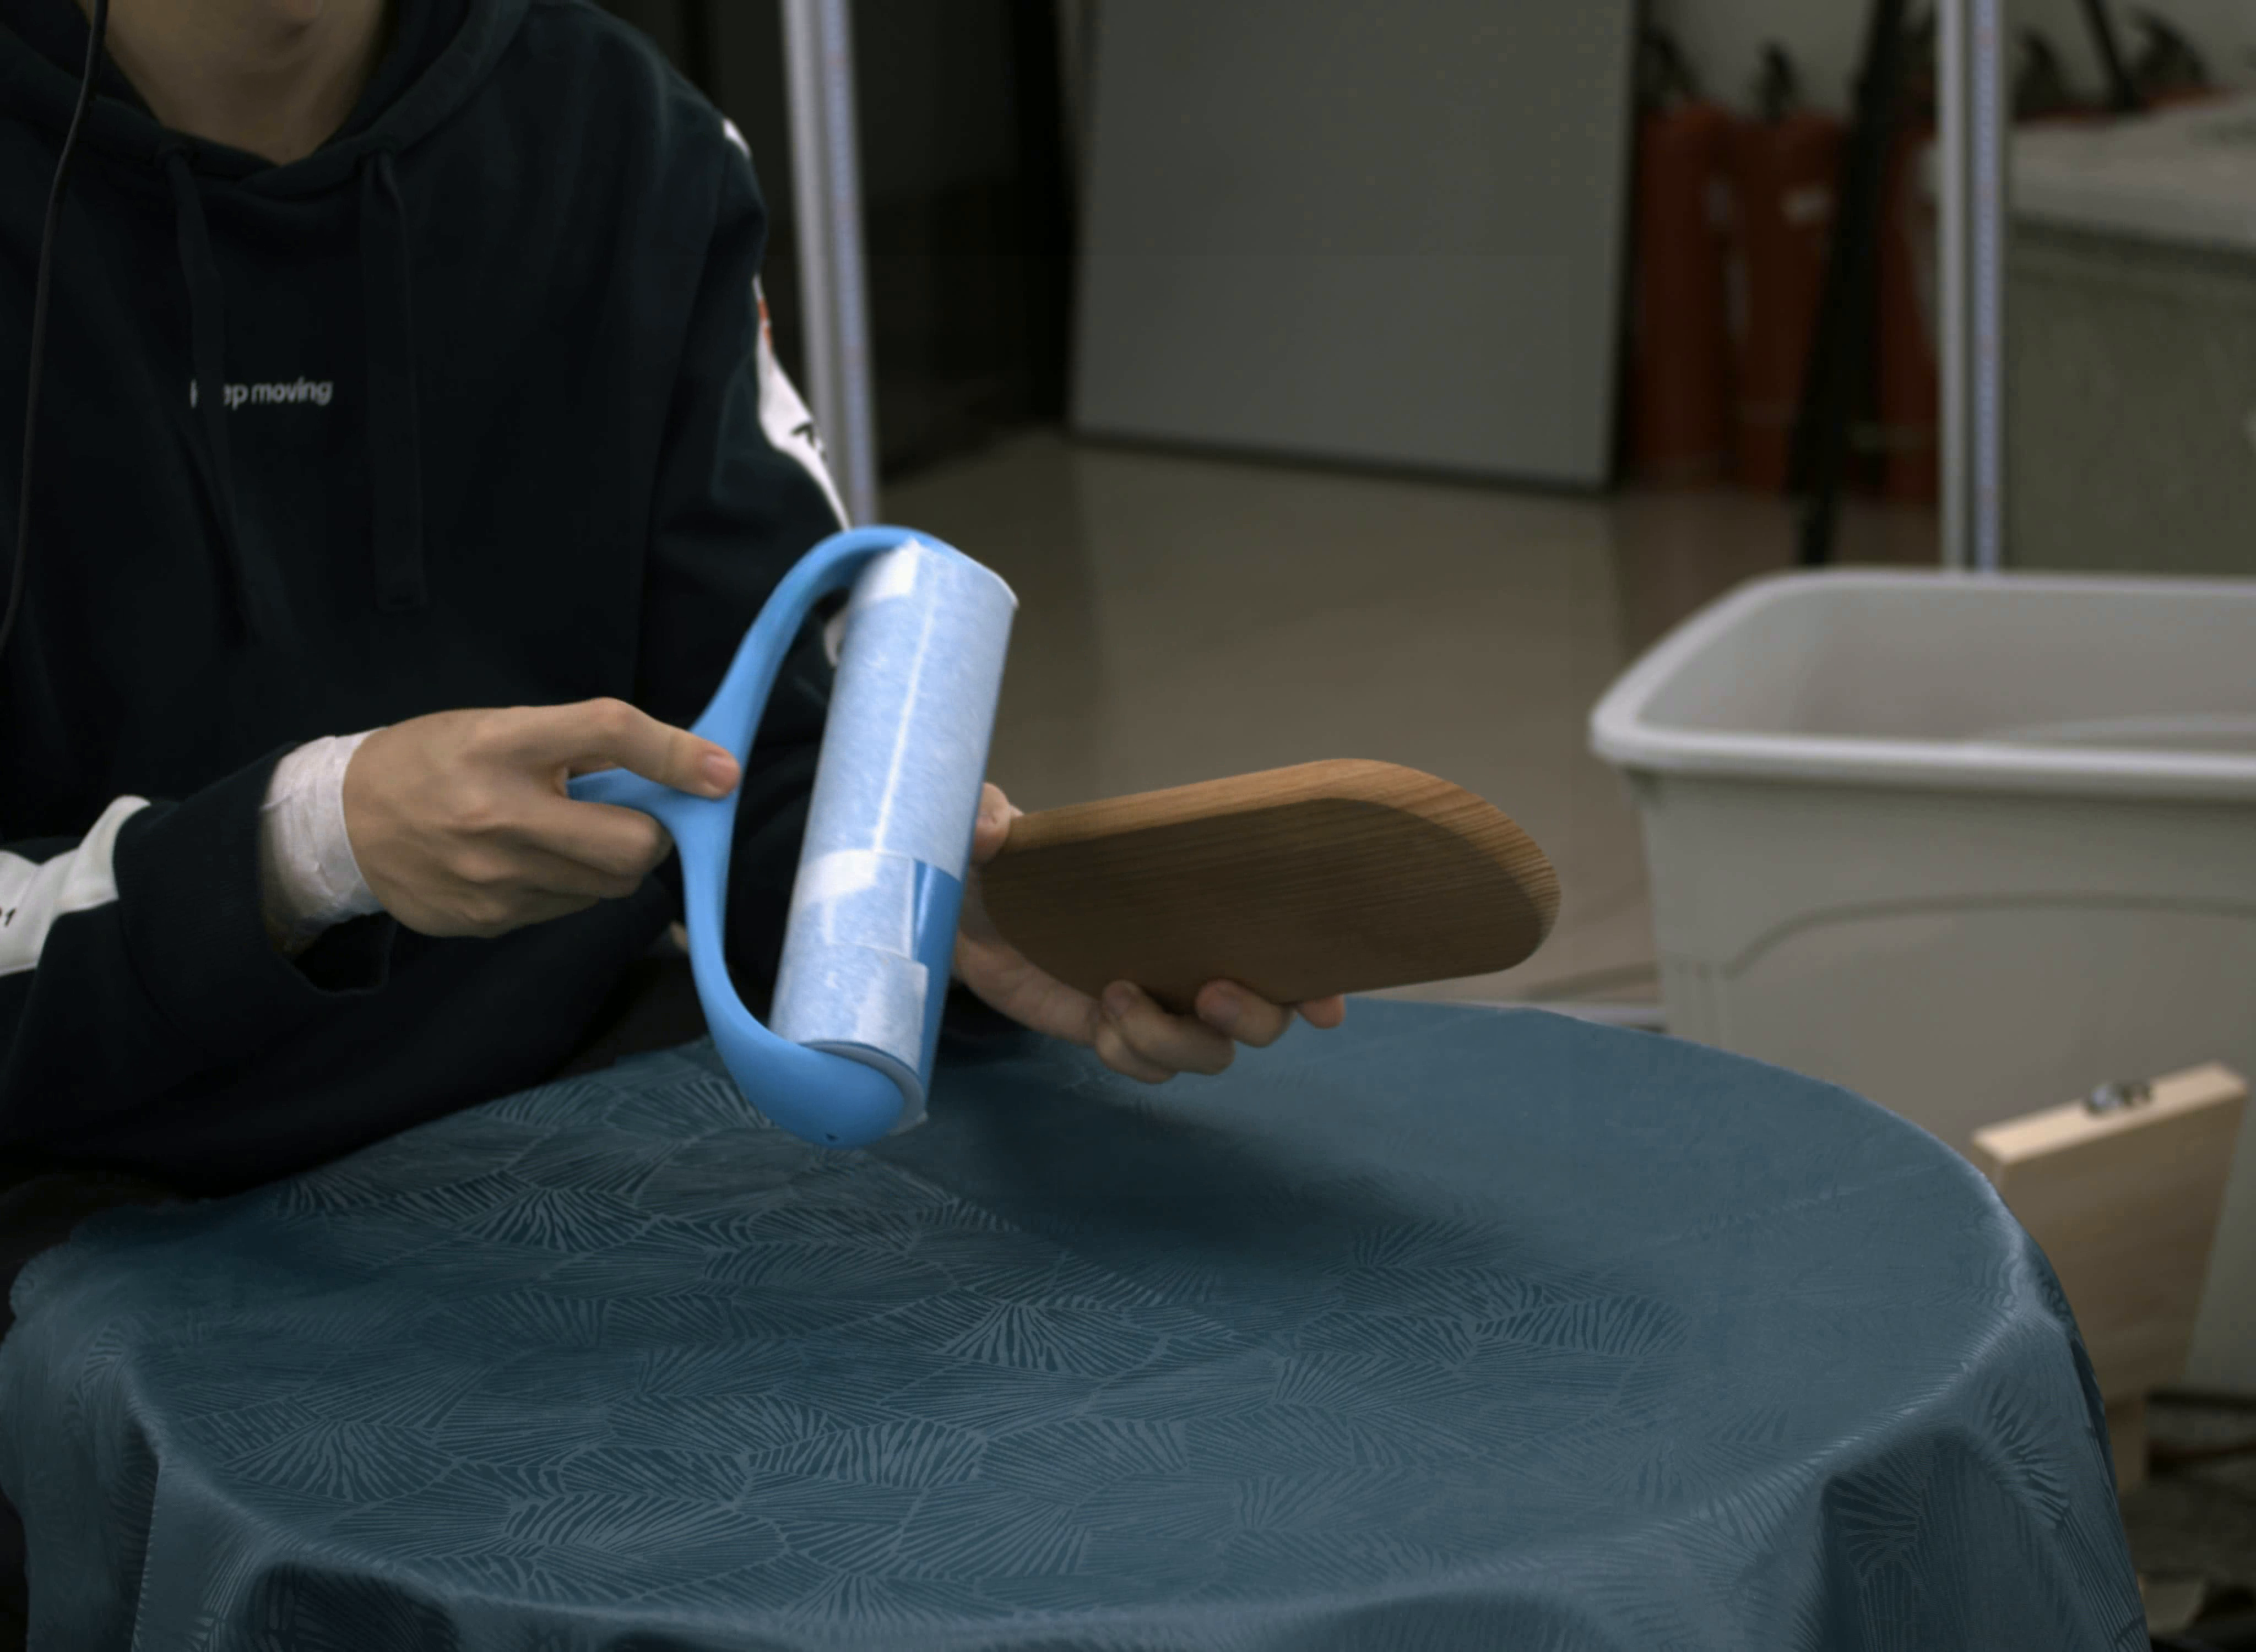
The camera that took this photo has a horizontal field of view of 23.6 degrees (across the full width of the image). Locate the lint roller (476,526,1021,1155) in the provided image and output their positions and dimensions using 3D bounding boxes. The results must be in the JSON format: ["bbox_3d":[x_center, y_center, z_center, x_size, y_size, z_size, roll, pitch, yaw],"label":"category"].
[{"bbox_3d":[-0.130,0.005,1.726,0.179,0.068,0.231,-3,55,12],"label":"lint roller"}]

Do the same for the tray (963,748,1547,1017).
[{"bbox_3d":[0.038,0.021,1.749,0.233,0.100,0.020,-12,42,44],"label":"tray"}]
